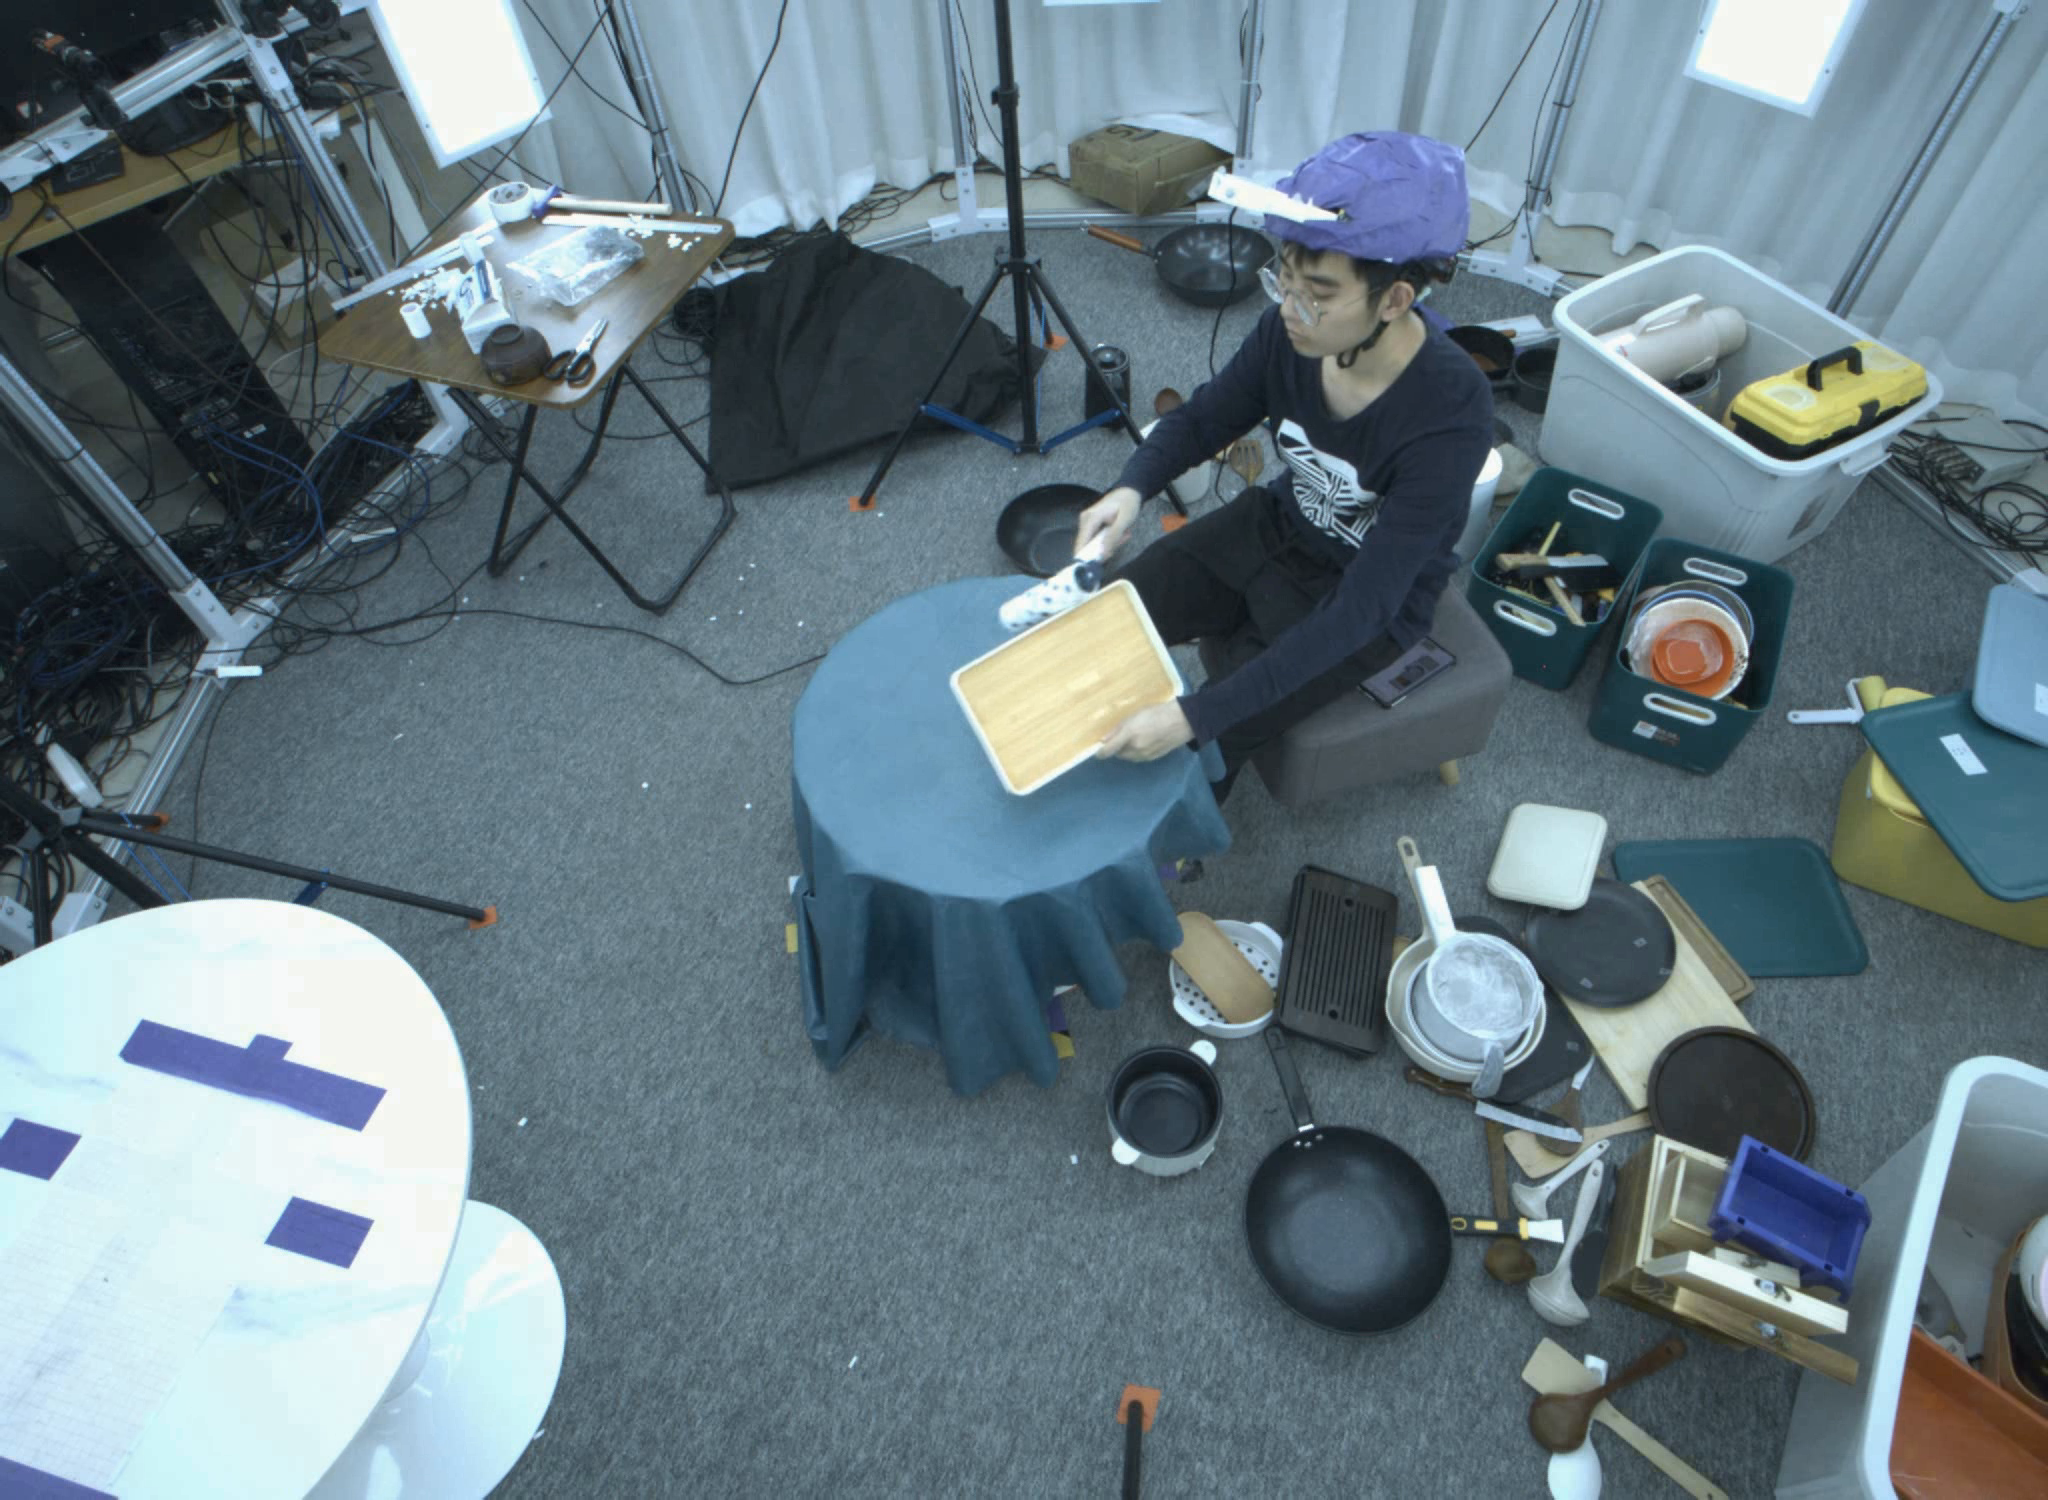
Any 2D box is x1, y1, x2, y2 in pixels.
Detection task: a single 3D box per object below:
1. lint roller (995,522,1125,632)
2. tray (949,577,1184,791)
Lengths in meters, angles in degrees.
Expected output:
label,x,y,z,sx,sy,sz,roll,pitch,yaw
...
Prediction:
label,x,y,z,sx,sy,sz,roll,pitch,yaw
lint roller,0.074,-0.268,1.763,0.051,0.173,0.248,52,50,-15
tray,0.062,-0.092,1.691,0.303,0.027,0.192,-31,99,-20
